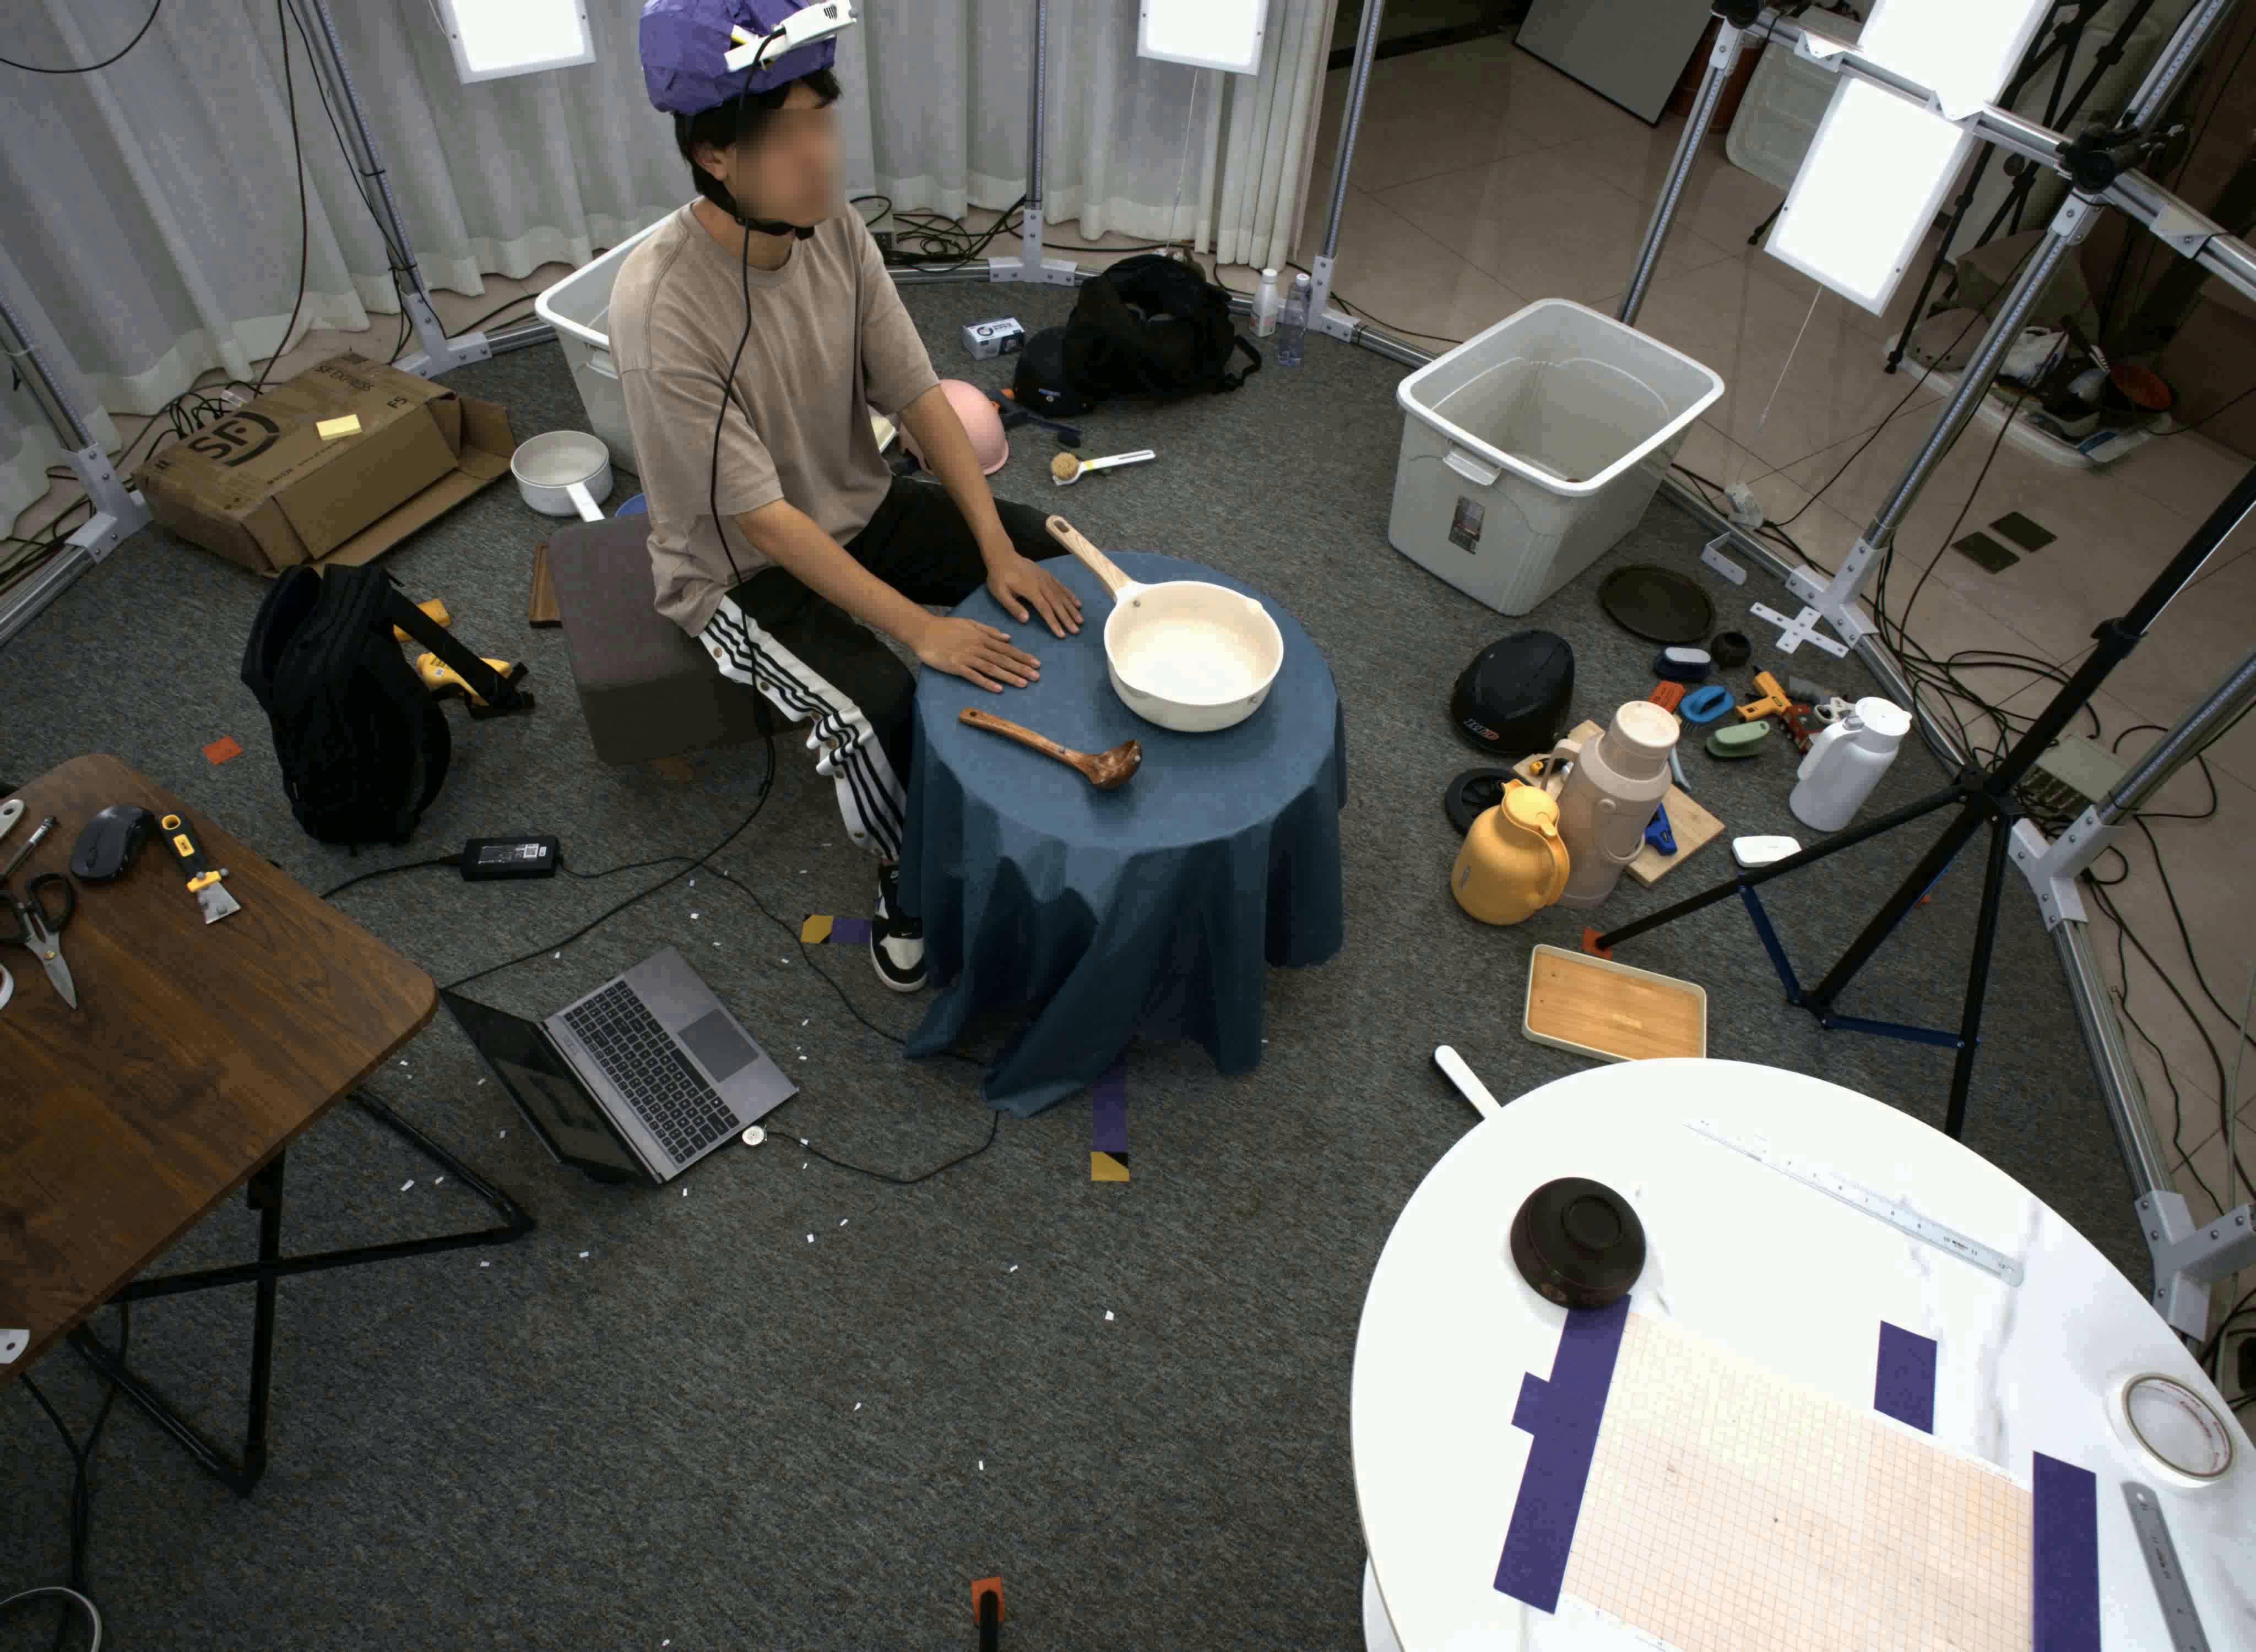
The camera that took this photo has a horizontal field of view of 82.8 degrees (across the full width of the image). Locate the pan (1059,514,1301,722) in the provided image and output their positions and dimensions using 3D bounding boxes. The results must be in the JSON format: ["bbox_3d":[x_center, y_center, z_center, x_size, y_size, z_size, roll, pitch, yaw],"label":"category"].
[{"bbox_3d":[0.052,-0.306,1.861,0.265,0.099,0.442,-34,59,-28],"label":"pan"}]

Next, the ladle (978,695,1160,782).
[{"bbox_3d":[-0.085,-0.133,1.709,0.276,0.075,0.083,26,52,16],"label":"ladle"}]
